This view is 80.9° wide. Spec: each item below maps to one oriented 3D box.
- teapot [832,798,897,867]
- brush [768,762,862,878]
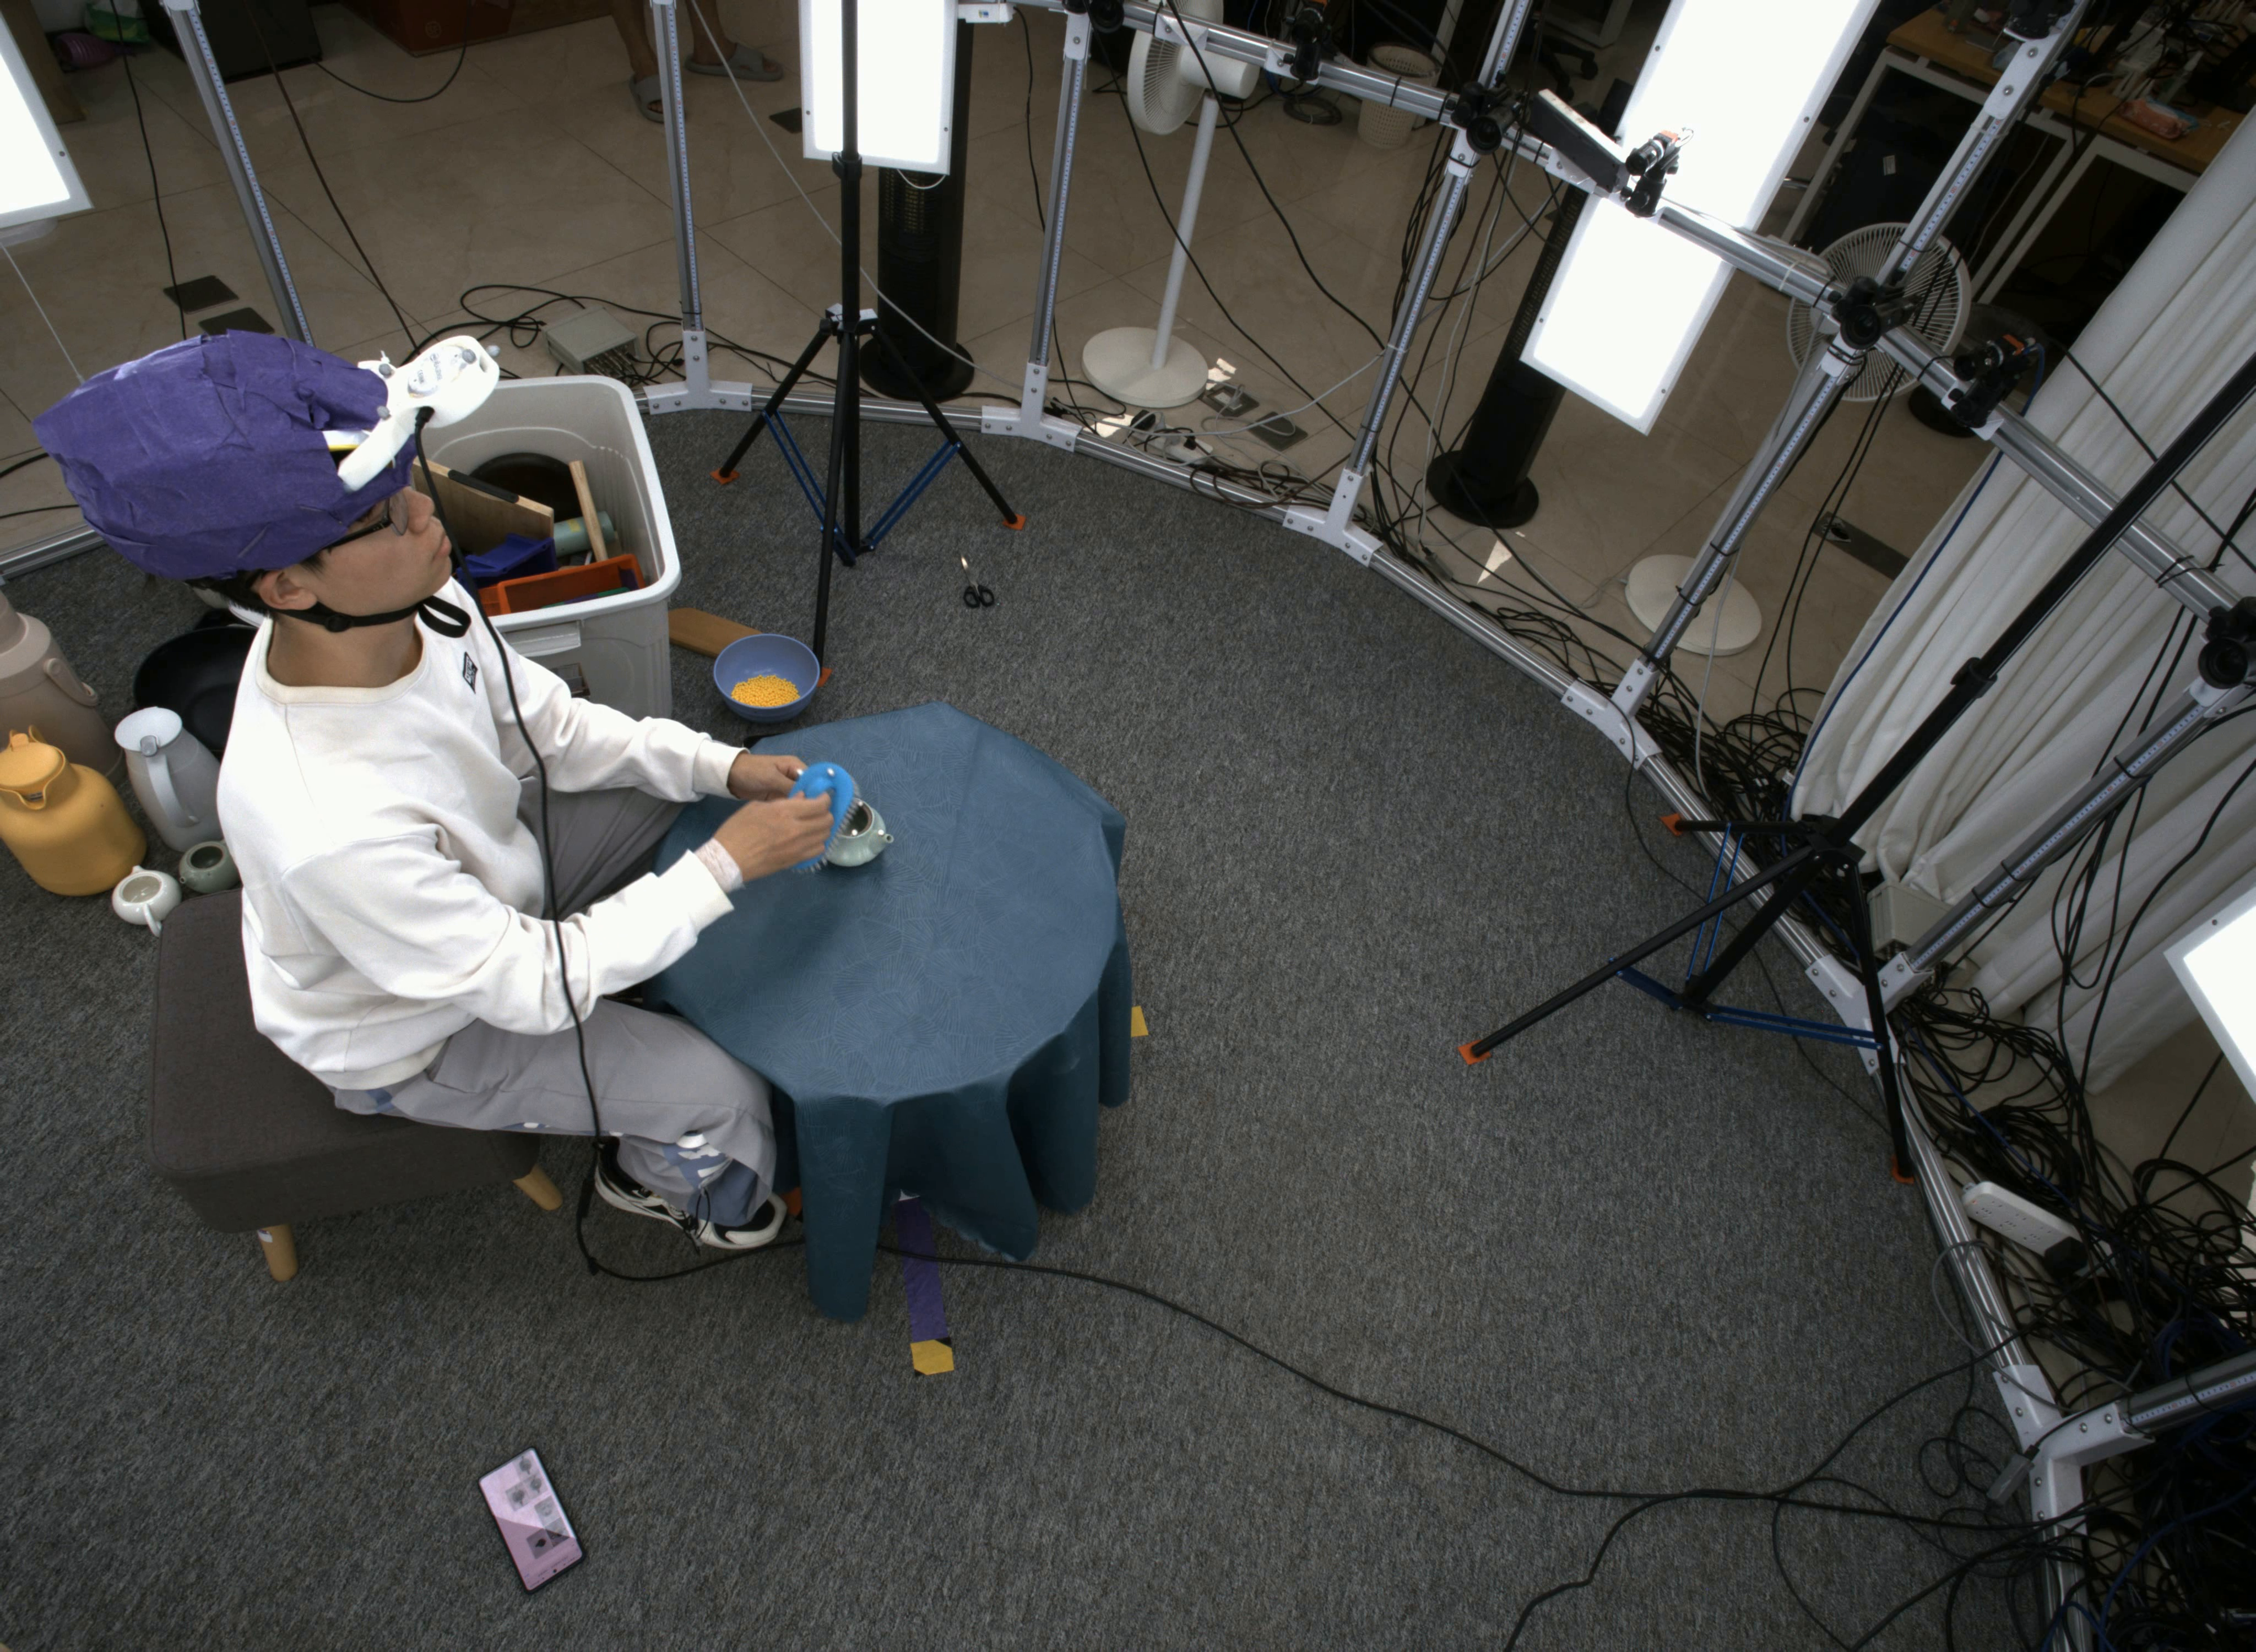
[{"bbox_3d":[-0.366,-0.001,1.701,0.136,0.062,0.095,27,59,0],"label":"teapot"},{"bbox_3d":[-0.379,-0.009,1.562,0.084,0.064,0.142,26,82,0],"label":"brush"}]
